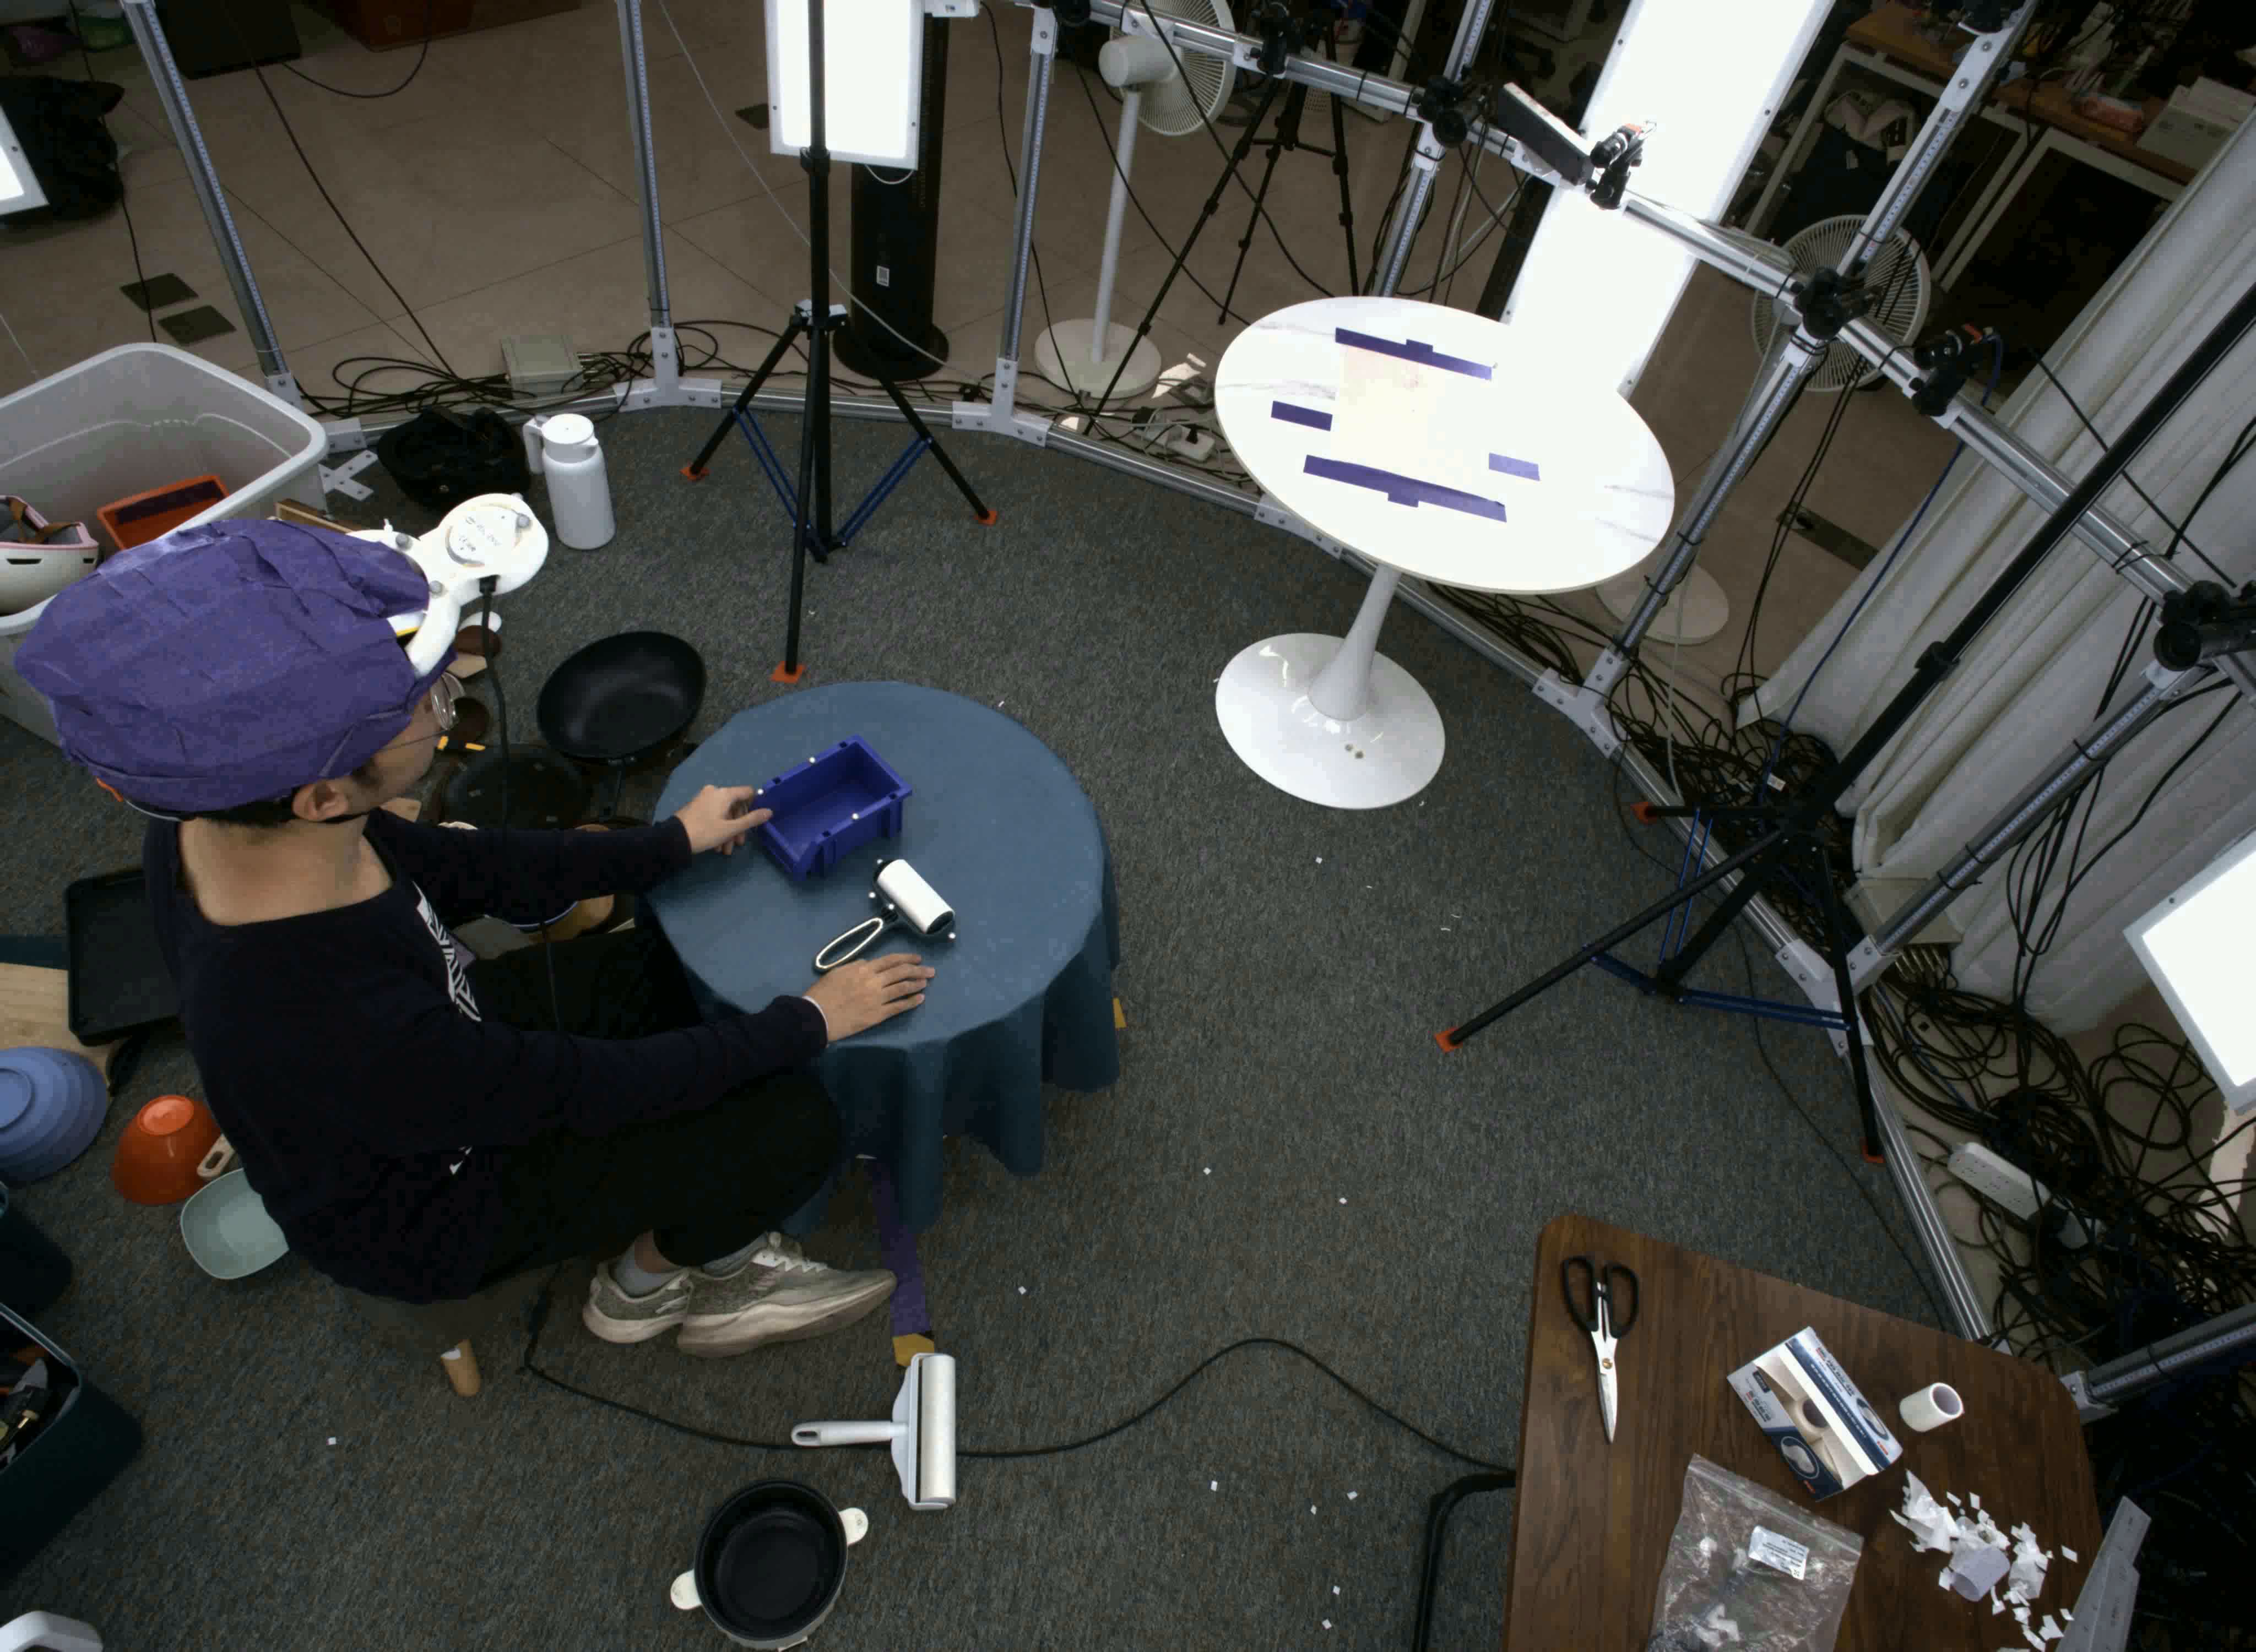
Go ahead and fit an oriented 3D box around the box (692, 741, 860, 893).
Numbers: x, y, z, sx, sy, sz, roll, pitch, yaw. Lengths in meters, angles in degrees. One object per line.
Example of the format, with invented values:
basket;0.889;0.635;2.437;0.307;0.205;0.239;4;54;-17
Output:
box;-0.456;-0.008;1.680;0.122;0.083;0.180;43;53;18

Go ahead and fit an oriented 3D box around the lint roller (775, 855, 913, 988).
lint roller;-0.372;0.131;1.627;0.131;0.049;0.180;41;60;16
